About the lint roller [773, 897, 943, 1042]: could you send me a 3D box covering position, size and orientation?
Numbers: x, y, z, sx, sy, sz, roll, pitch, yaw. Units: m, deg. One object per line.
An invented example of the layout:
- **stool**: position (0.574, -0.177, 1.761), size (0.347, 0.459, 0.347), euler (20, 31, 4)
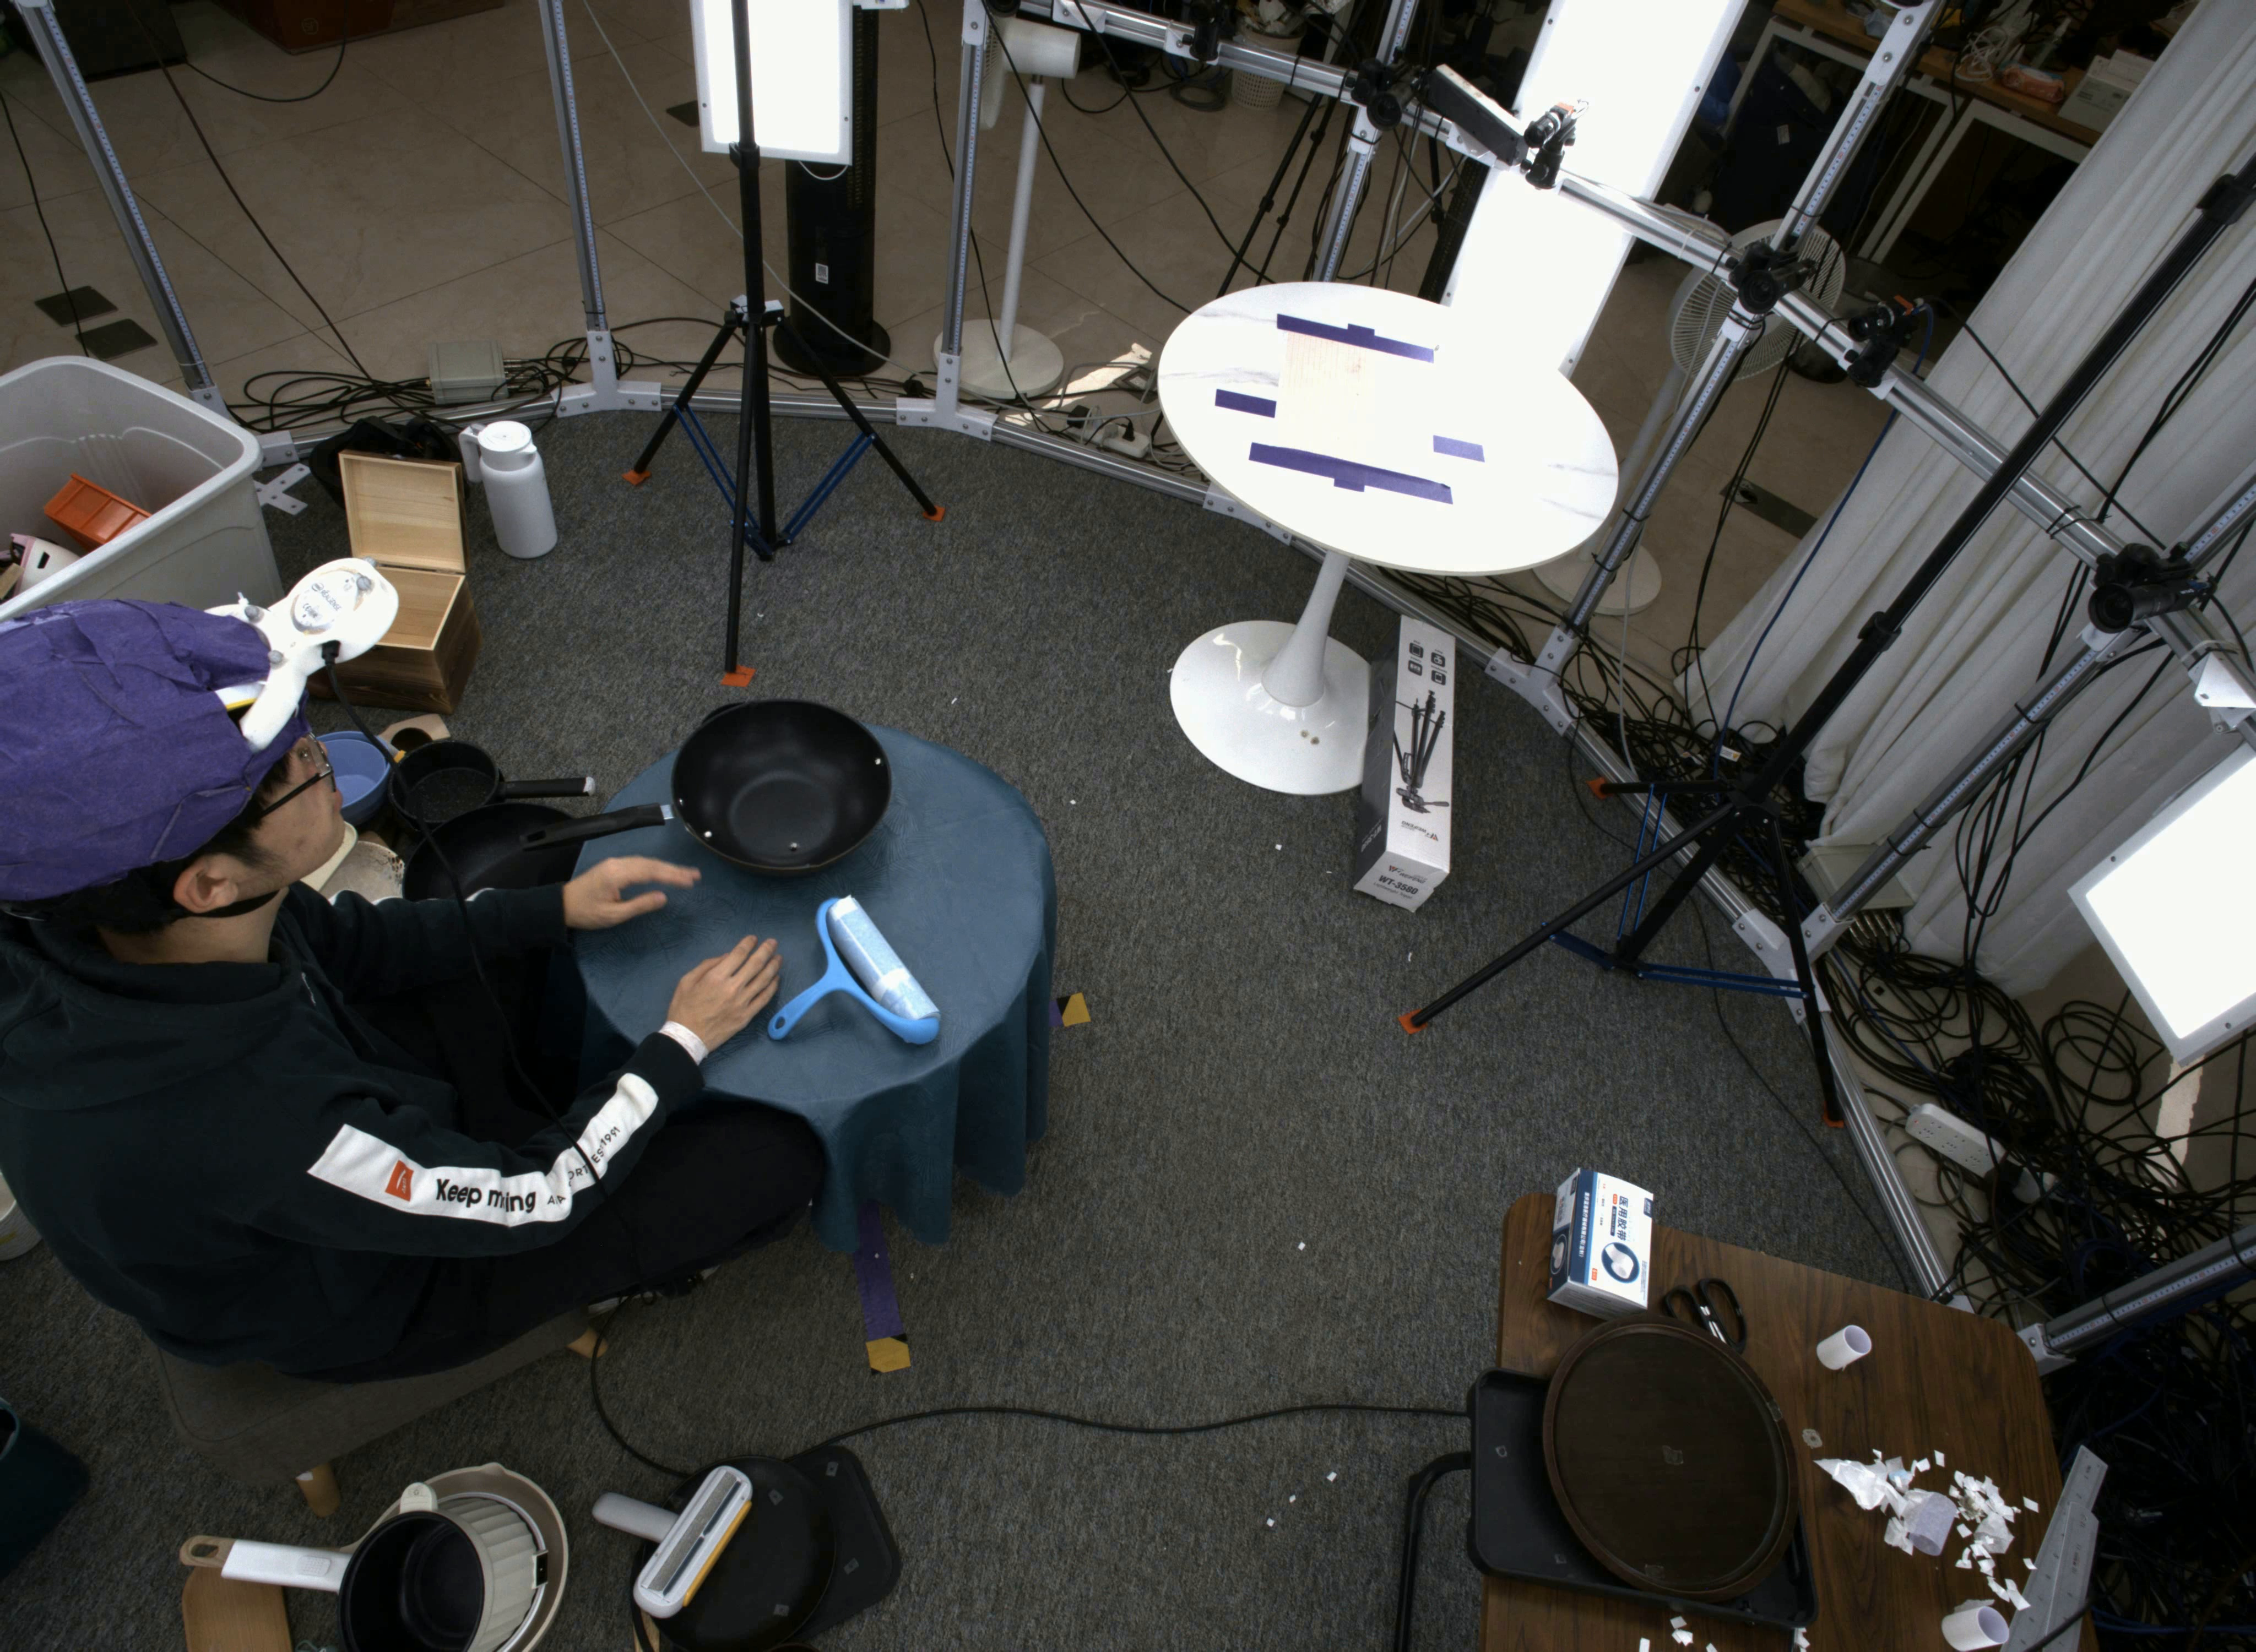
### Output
- **lint roller**: position (-0.347, 0.197, 1.569), size (0.181, 0.069, 0.224), euler (-32, 69, -33)

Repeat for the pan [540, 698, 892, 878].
- **pan**: position (-0.531, -0.015, 1.660), size (0.465, 0.088, 0.281), euler (-16, 59, -23)
